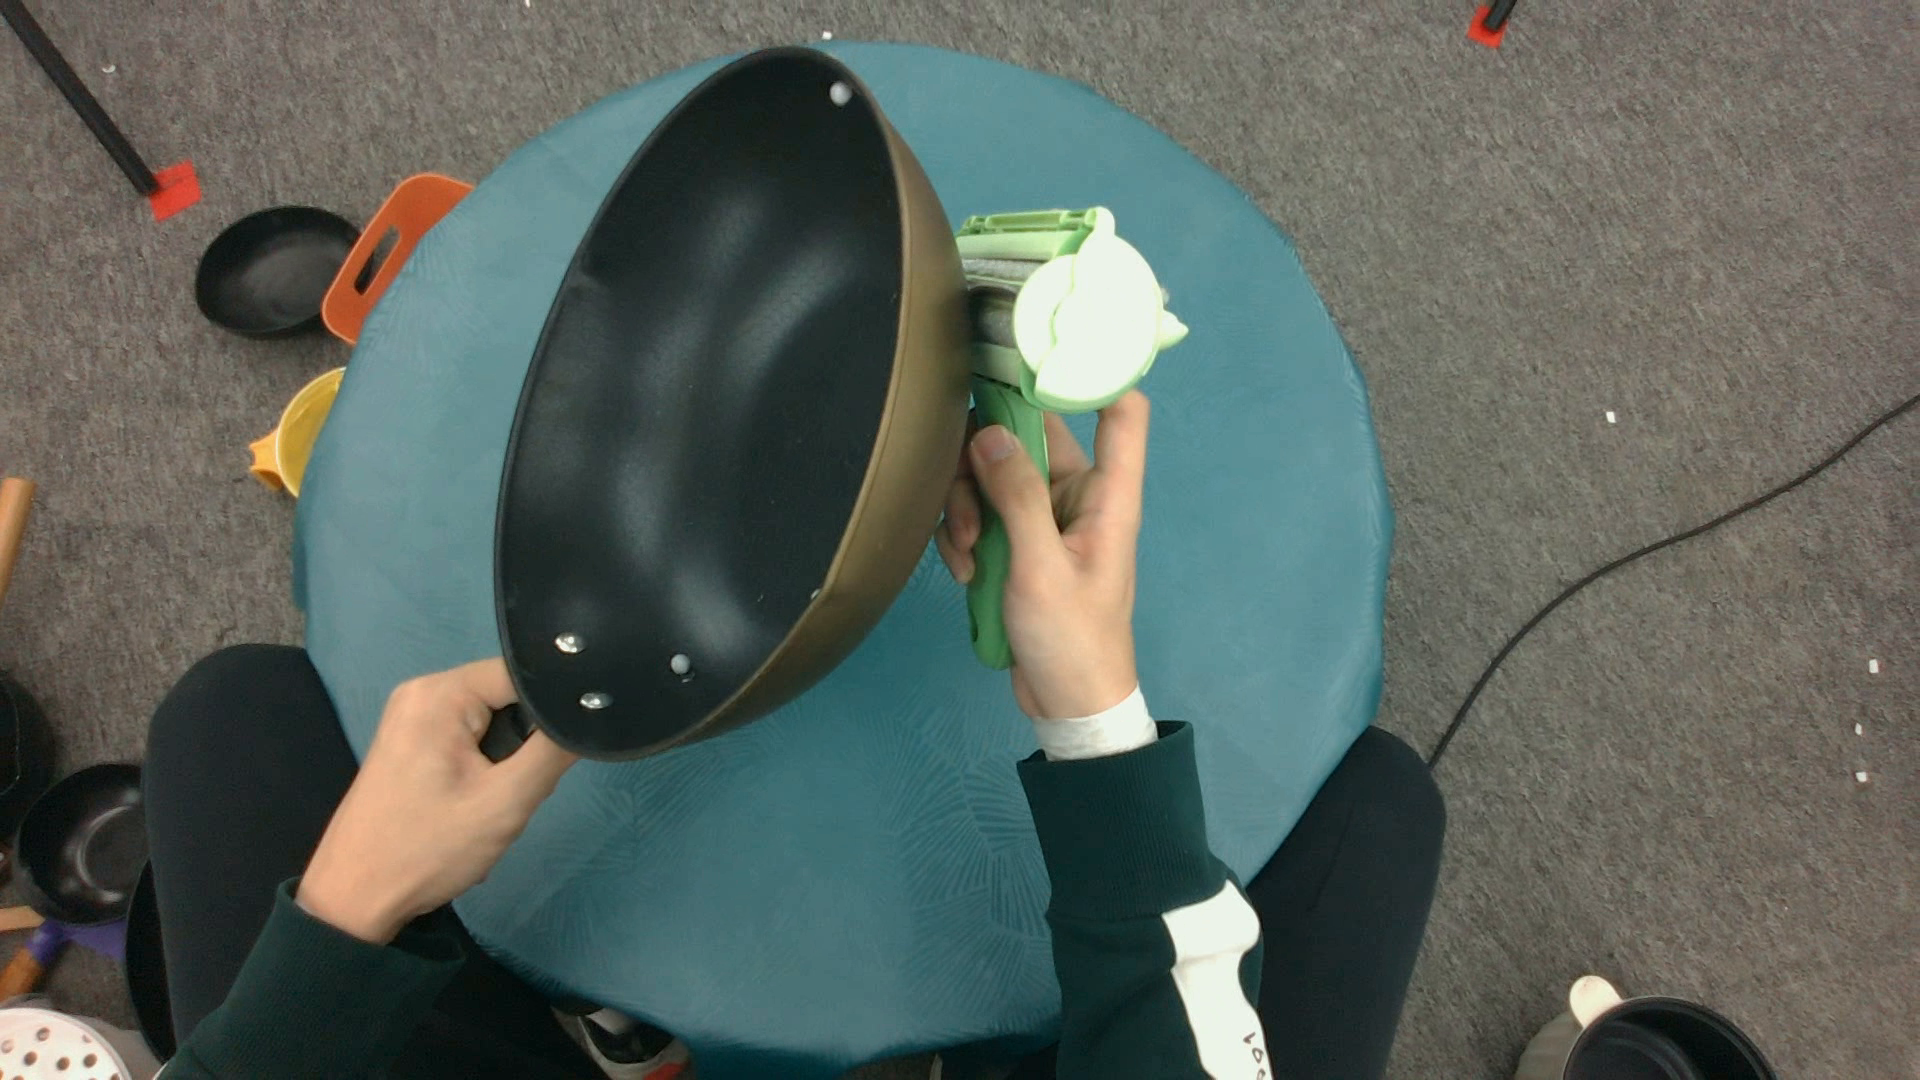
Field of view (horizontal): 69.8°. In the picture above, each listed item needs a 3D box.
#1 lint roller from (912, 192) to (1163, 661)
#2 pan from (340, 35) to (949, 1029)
[{"bbox_3d":[0.027,-0.045,0.558,0.082,0.198,0.183,-14,105,-13],"label":"lint roller"},{"bbox_3d":[-0.136,0.027,0.572,0.288,0.087,0.462,45,111,46],"label":"pan"}]
